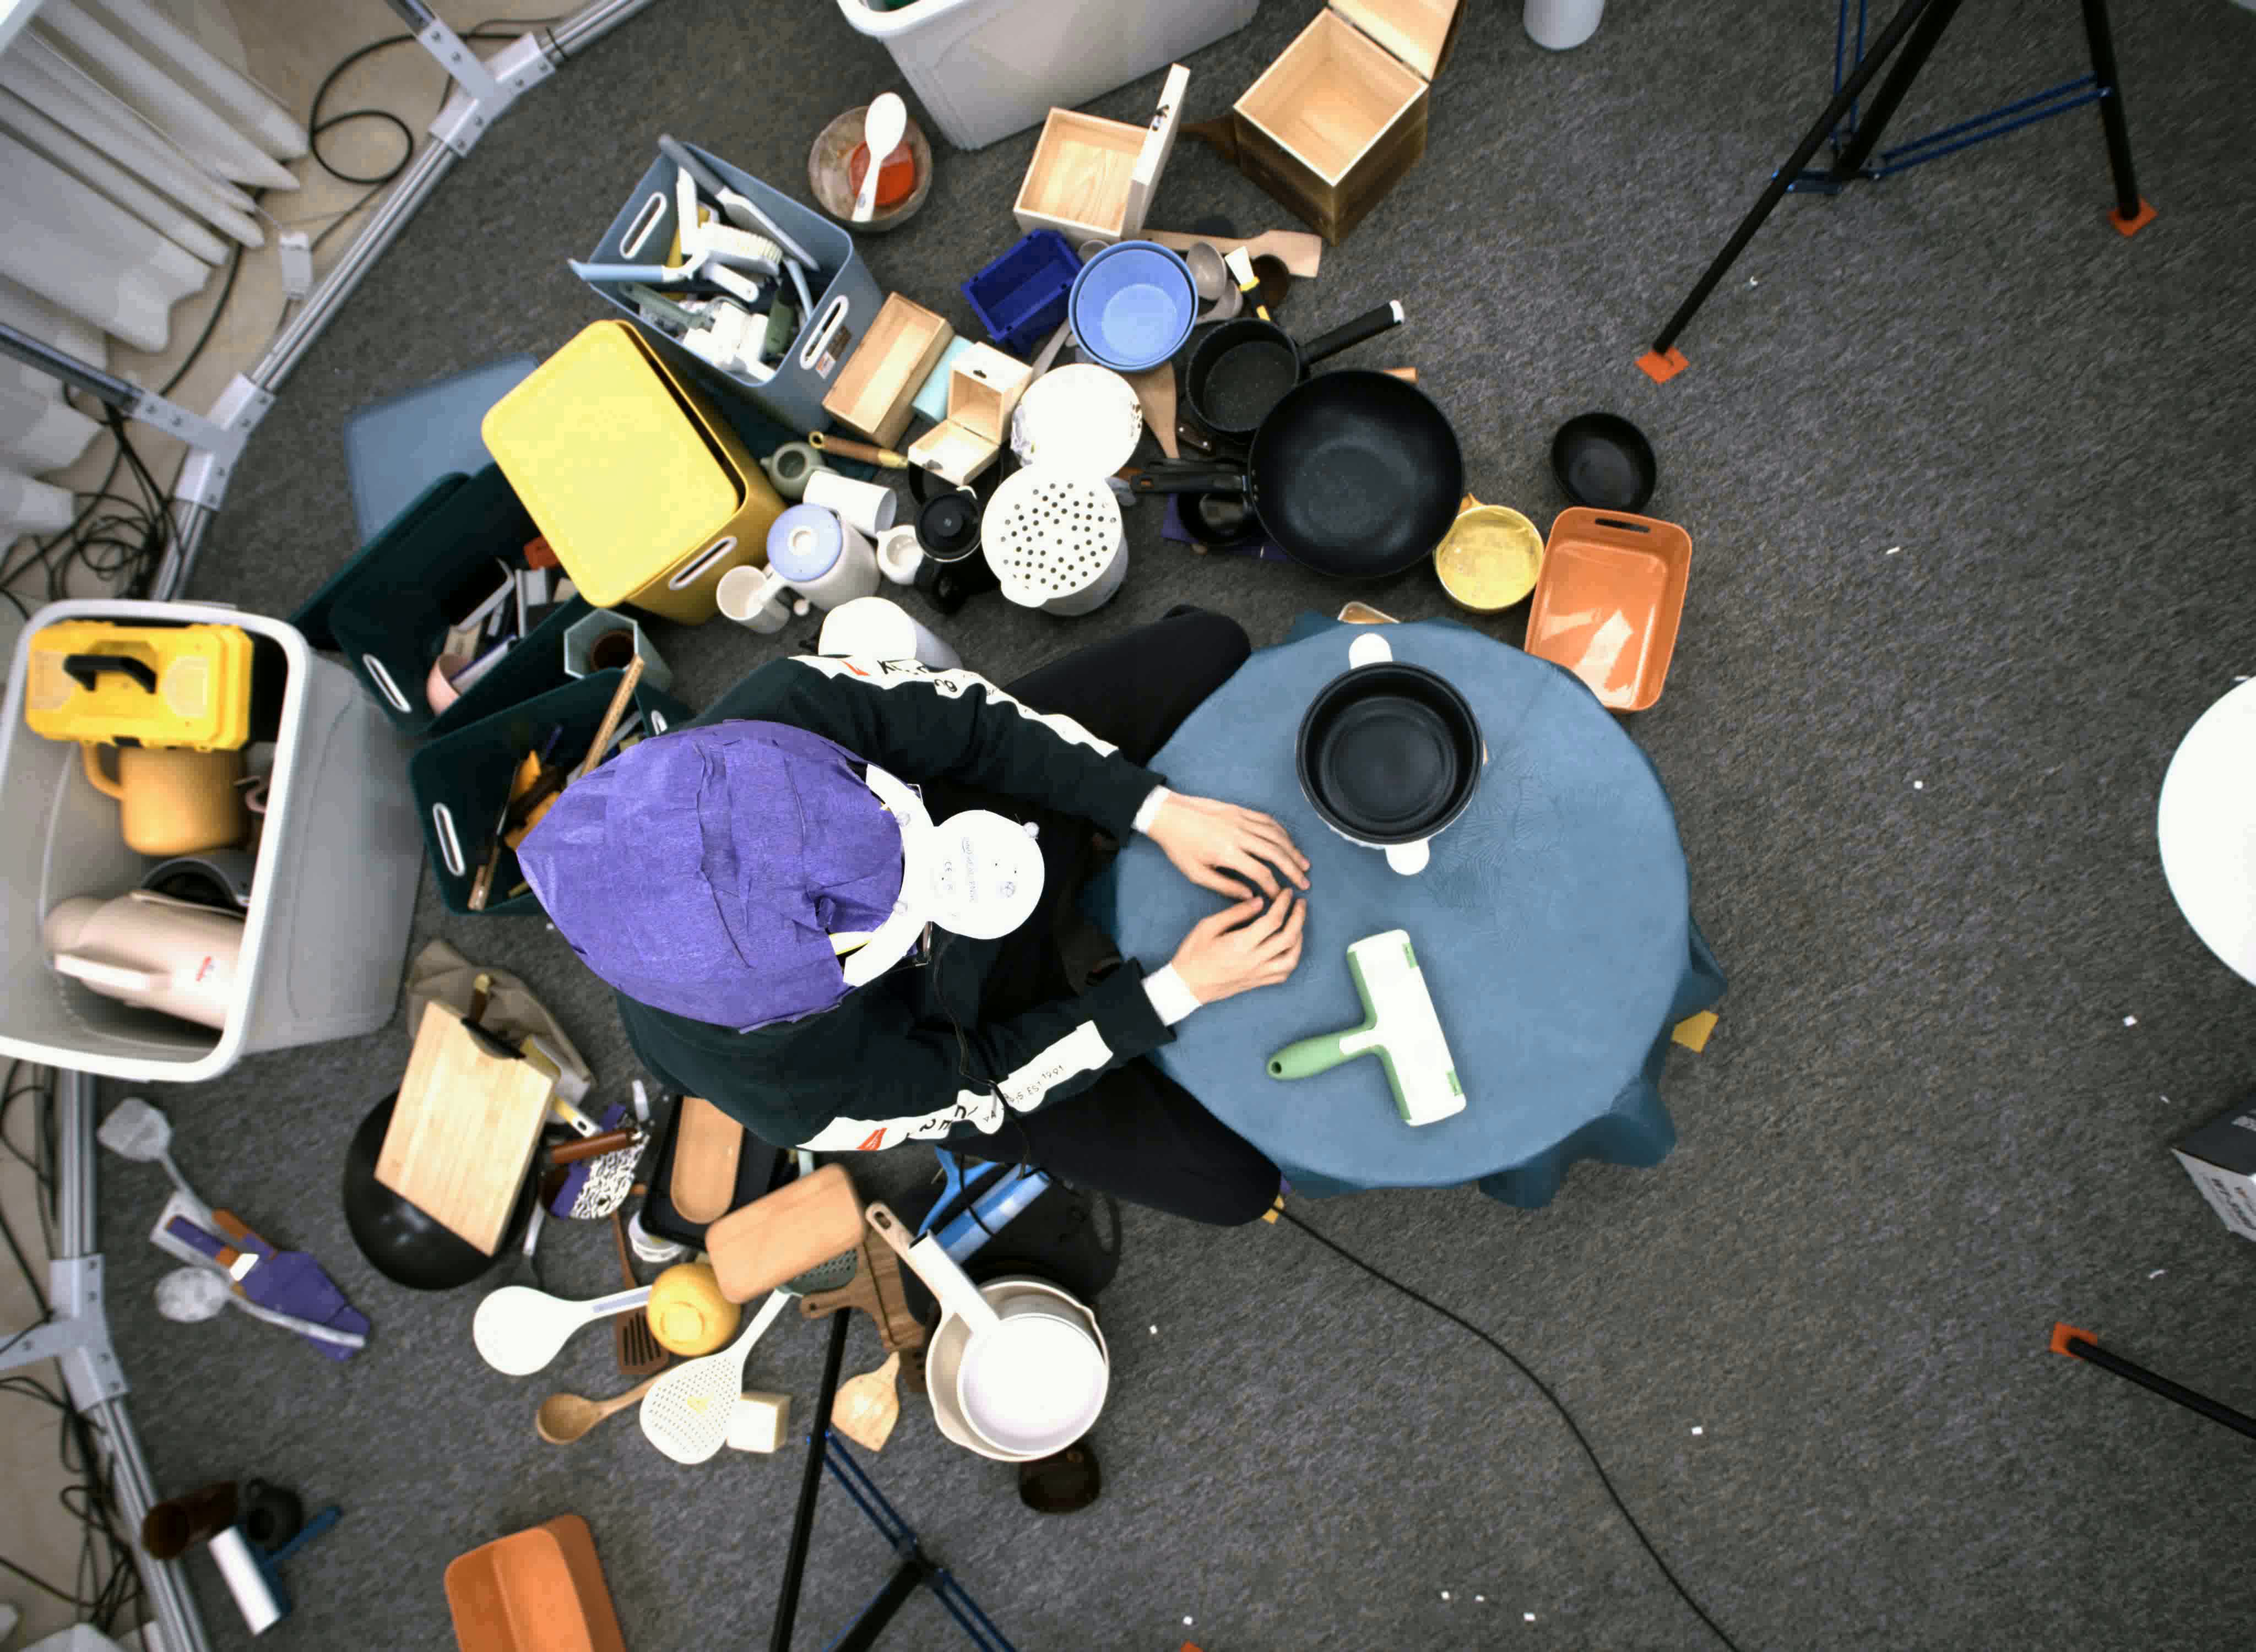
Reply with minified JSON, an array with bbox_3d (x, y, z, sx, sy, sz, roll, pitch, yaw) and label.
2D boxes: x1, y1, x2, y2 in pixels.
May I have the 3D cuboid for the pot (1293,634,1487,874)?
[{"bbox_3d":[0.267,-0.069,1.393,0.192,0.142,0.239,-11,86,12],"label":"pot"}]

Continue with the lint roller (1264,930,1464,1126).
[{"bbox_3d":[0.227,0.223,1.418,0.184,0.082,0.197,-18,84,4],"label":"lint roller"}]
